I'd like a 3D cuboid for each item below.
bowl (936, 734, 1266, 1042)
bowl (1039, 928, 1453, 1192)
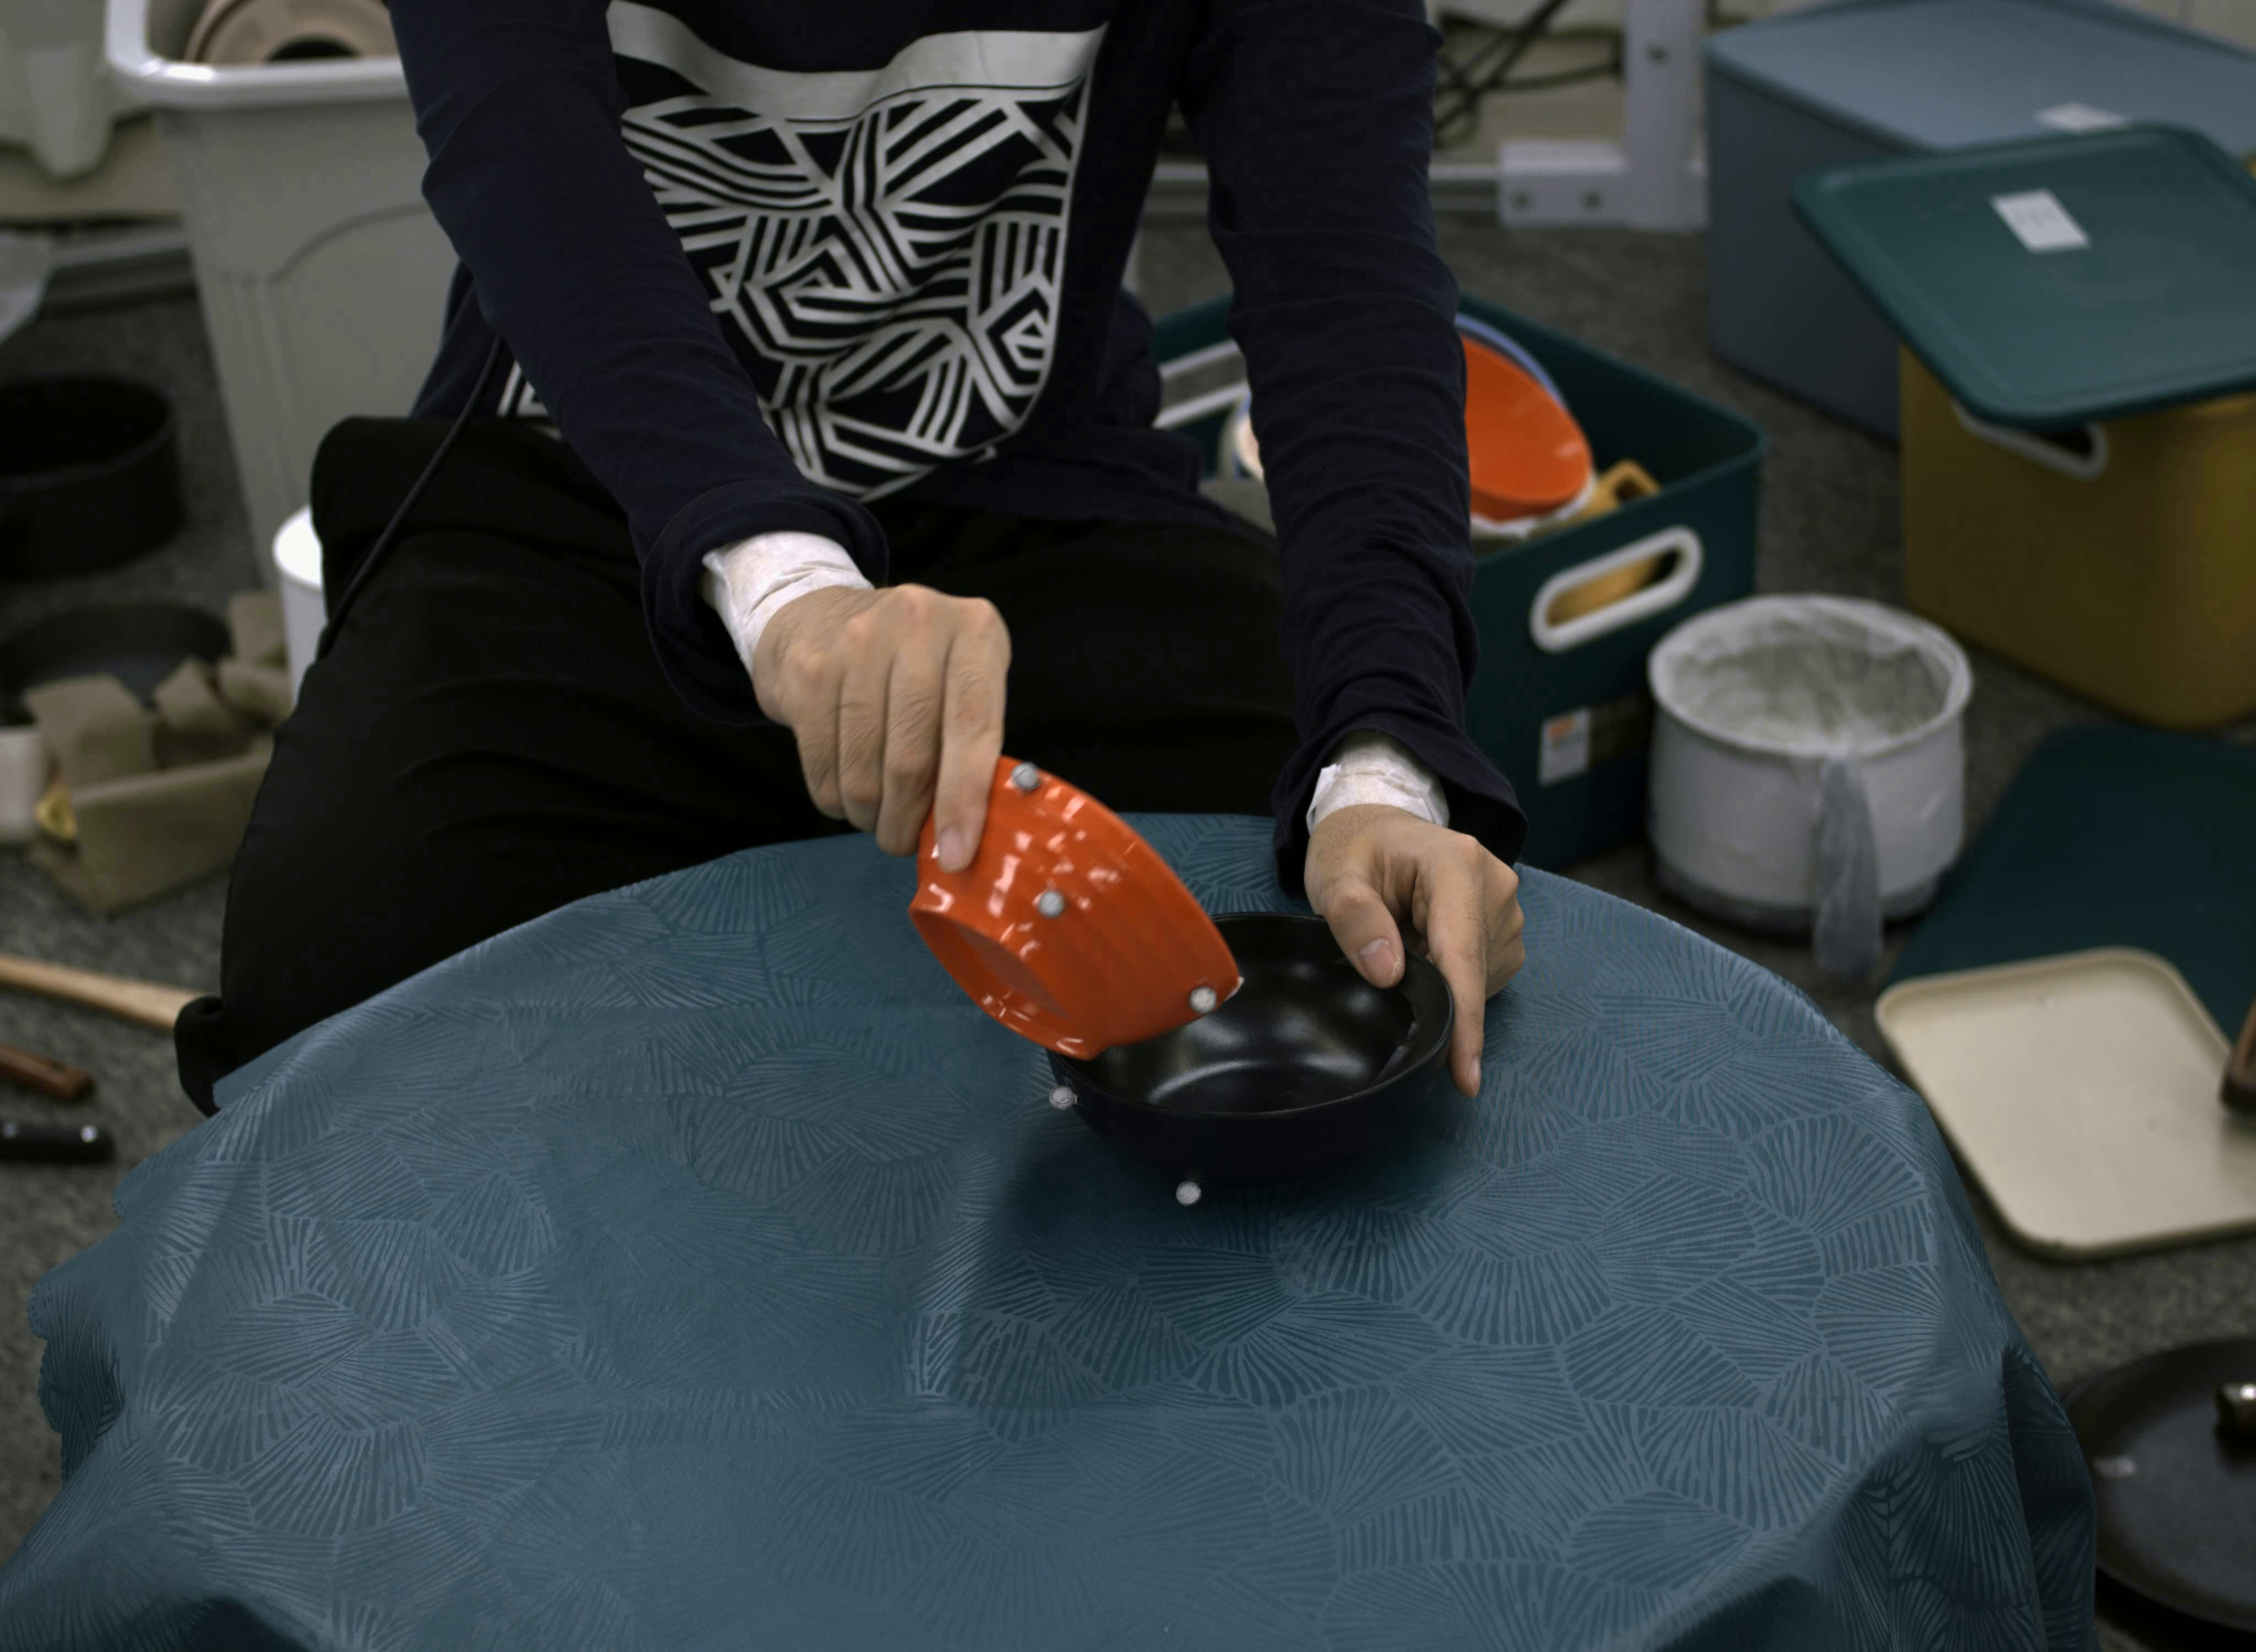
[{"bbox_3d":[-0.017,0.026,1.791,0.051,0.118,0.119,-51,41,-5],"label":"bowl"},{"bbox_3d":[0.040,0.085,1.880,0.139,0.049,0.142,-2,23,1],"label":"bowl"}]
